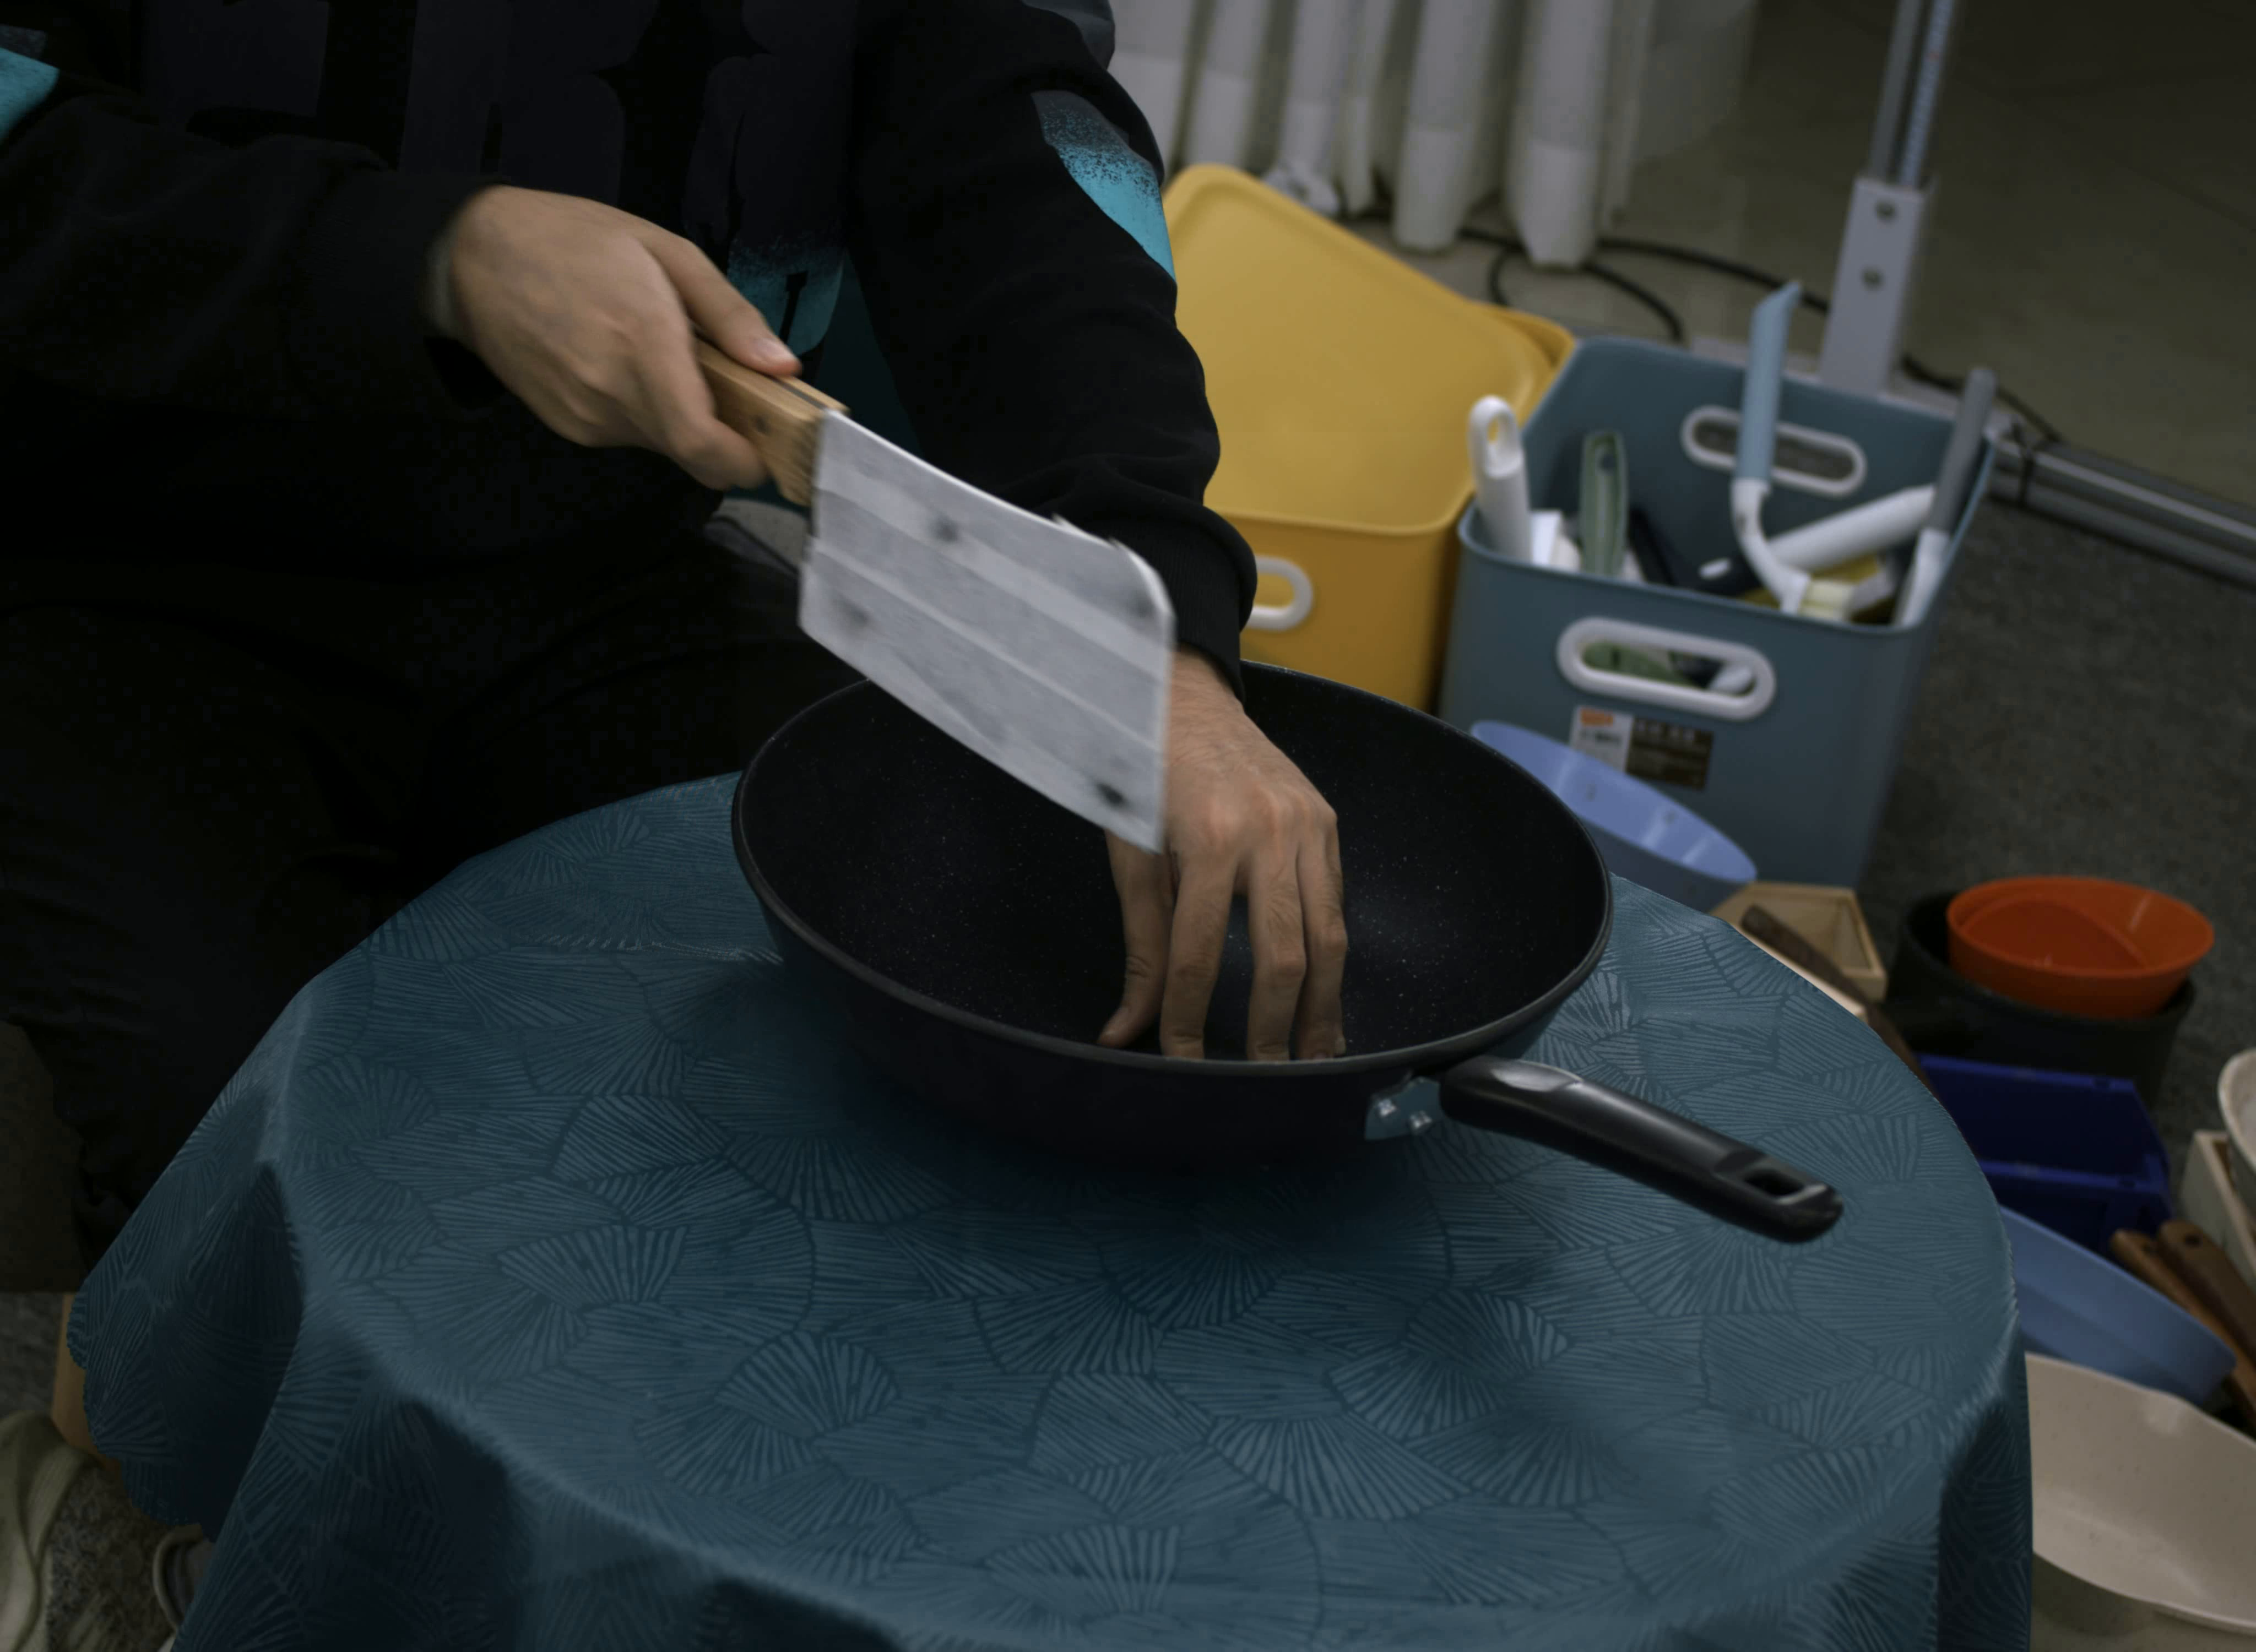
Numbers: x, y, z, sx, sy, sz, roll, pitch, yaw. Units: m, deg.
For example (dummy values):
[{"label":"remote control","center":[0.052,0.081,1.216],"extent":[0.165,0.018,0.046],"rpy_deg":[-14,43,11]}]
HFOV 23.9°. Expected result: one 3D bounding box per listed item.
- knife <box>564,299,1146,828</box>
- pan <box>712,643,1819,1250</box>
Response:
[{"label":"knife","center":[-0.092,-0.104,1.784],"extent":[0.021,0.113,0.318],"rpy_deg":[-18,39,-37]},{"label":"pan","center":[0.058,0.066,1.812],"extent":[0.308,0.111,0.481],"rpy_deg":[-16,34,-34]}]
